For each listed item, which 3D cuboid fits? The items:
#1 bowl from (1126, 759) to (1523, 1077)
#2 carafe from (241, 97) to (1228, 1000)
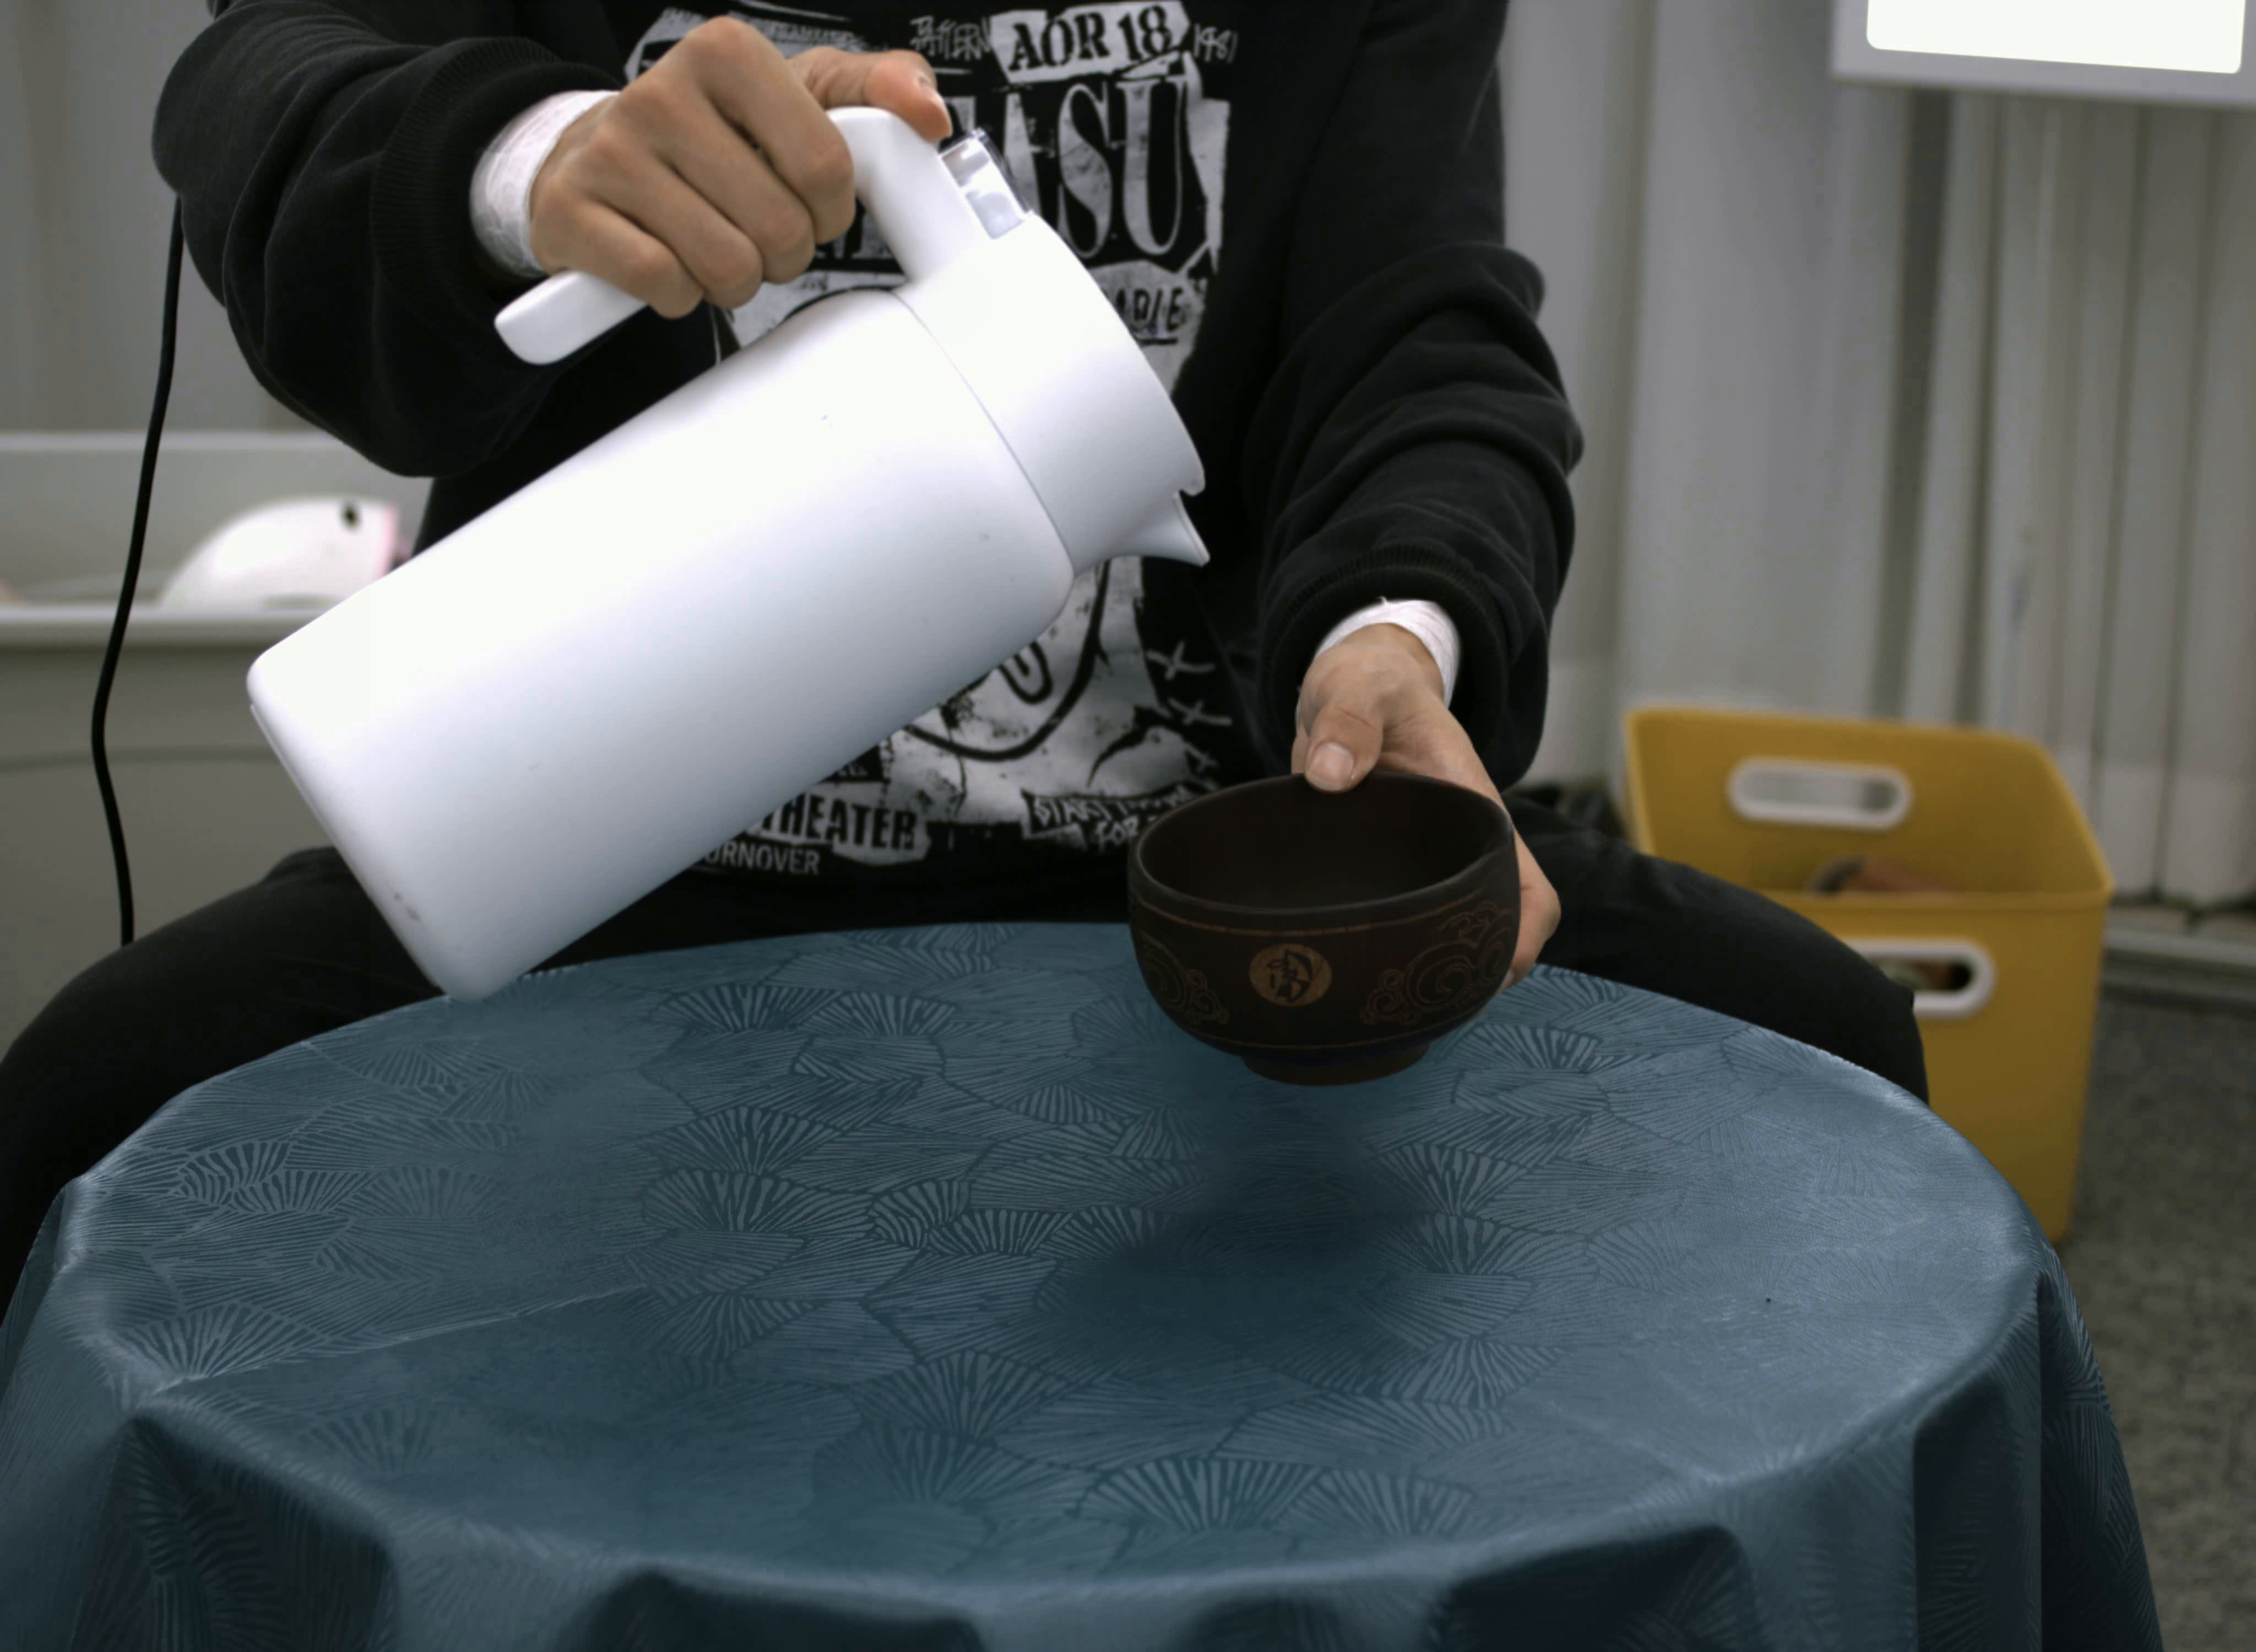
[{"bbox_3d":[0.060,0.032,1.568,0.117,0.070,0.117,-5,21,2],"label":"bowl"},{"bbox_3d":[-0.122,-0.082,1.498,0.268,0.174,0.123,-33,15,-4],"label":"carafe"}]
